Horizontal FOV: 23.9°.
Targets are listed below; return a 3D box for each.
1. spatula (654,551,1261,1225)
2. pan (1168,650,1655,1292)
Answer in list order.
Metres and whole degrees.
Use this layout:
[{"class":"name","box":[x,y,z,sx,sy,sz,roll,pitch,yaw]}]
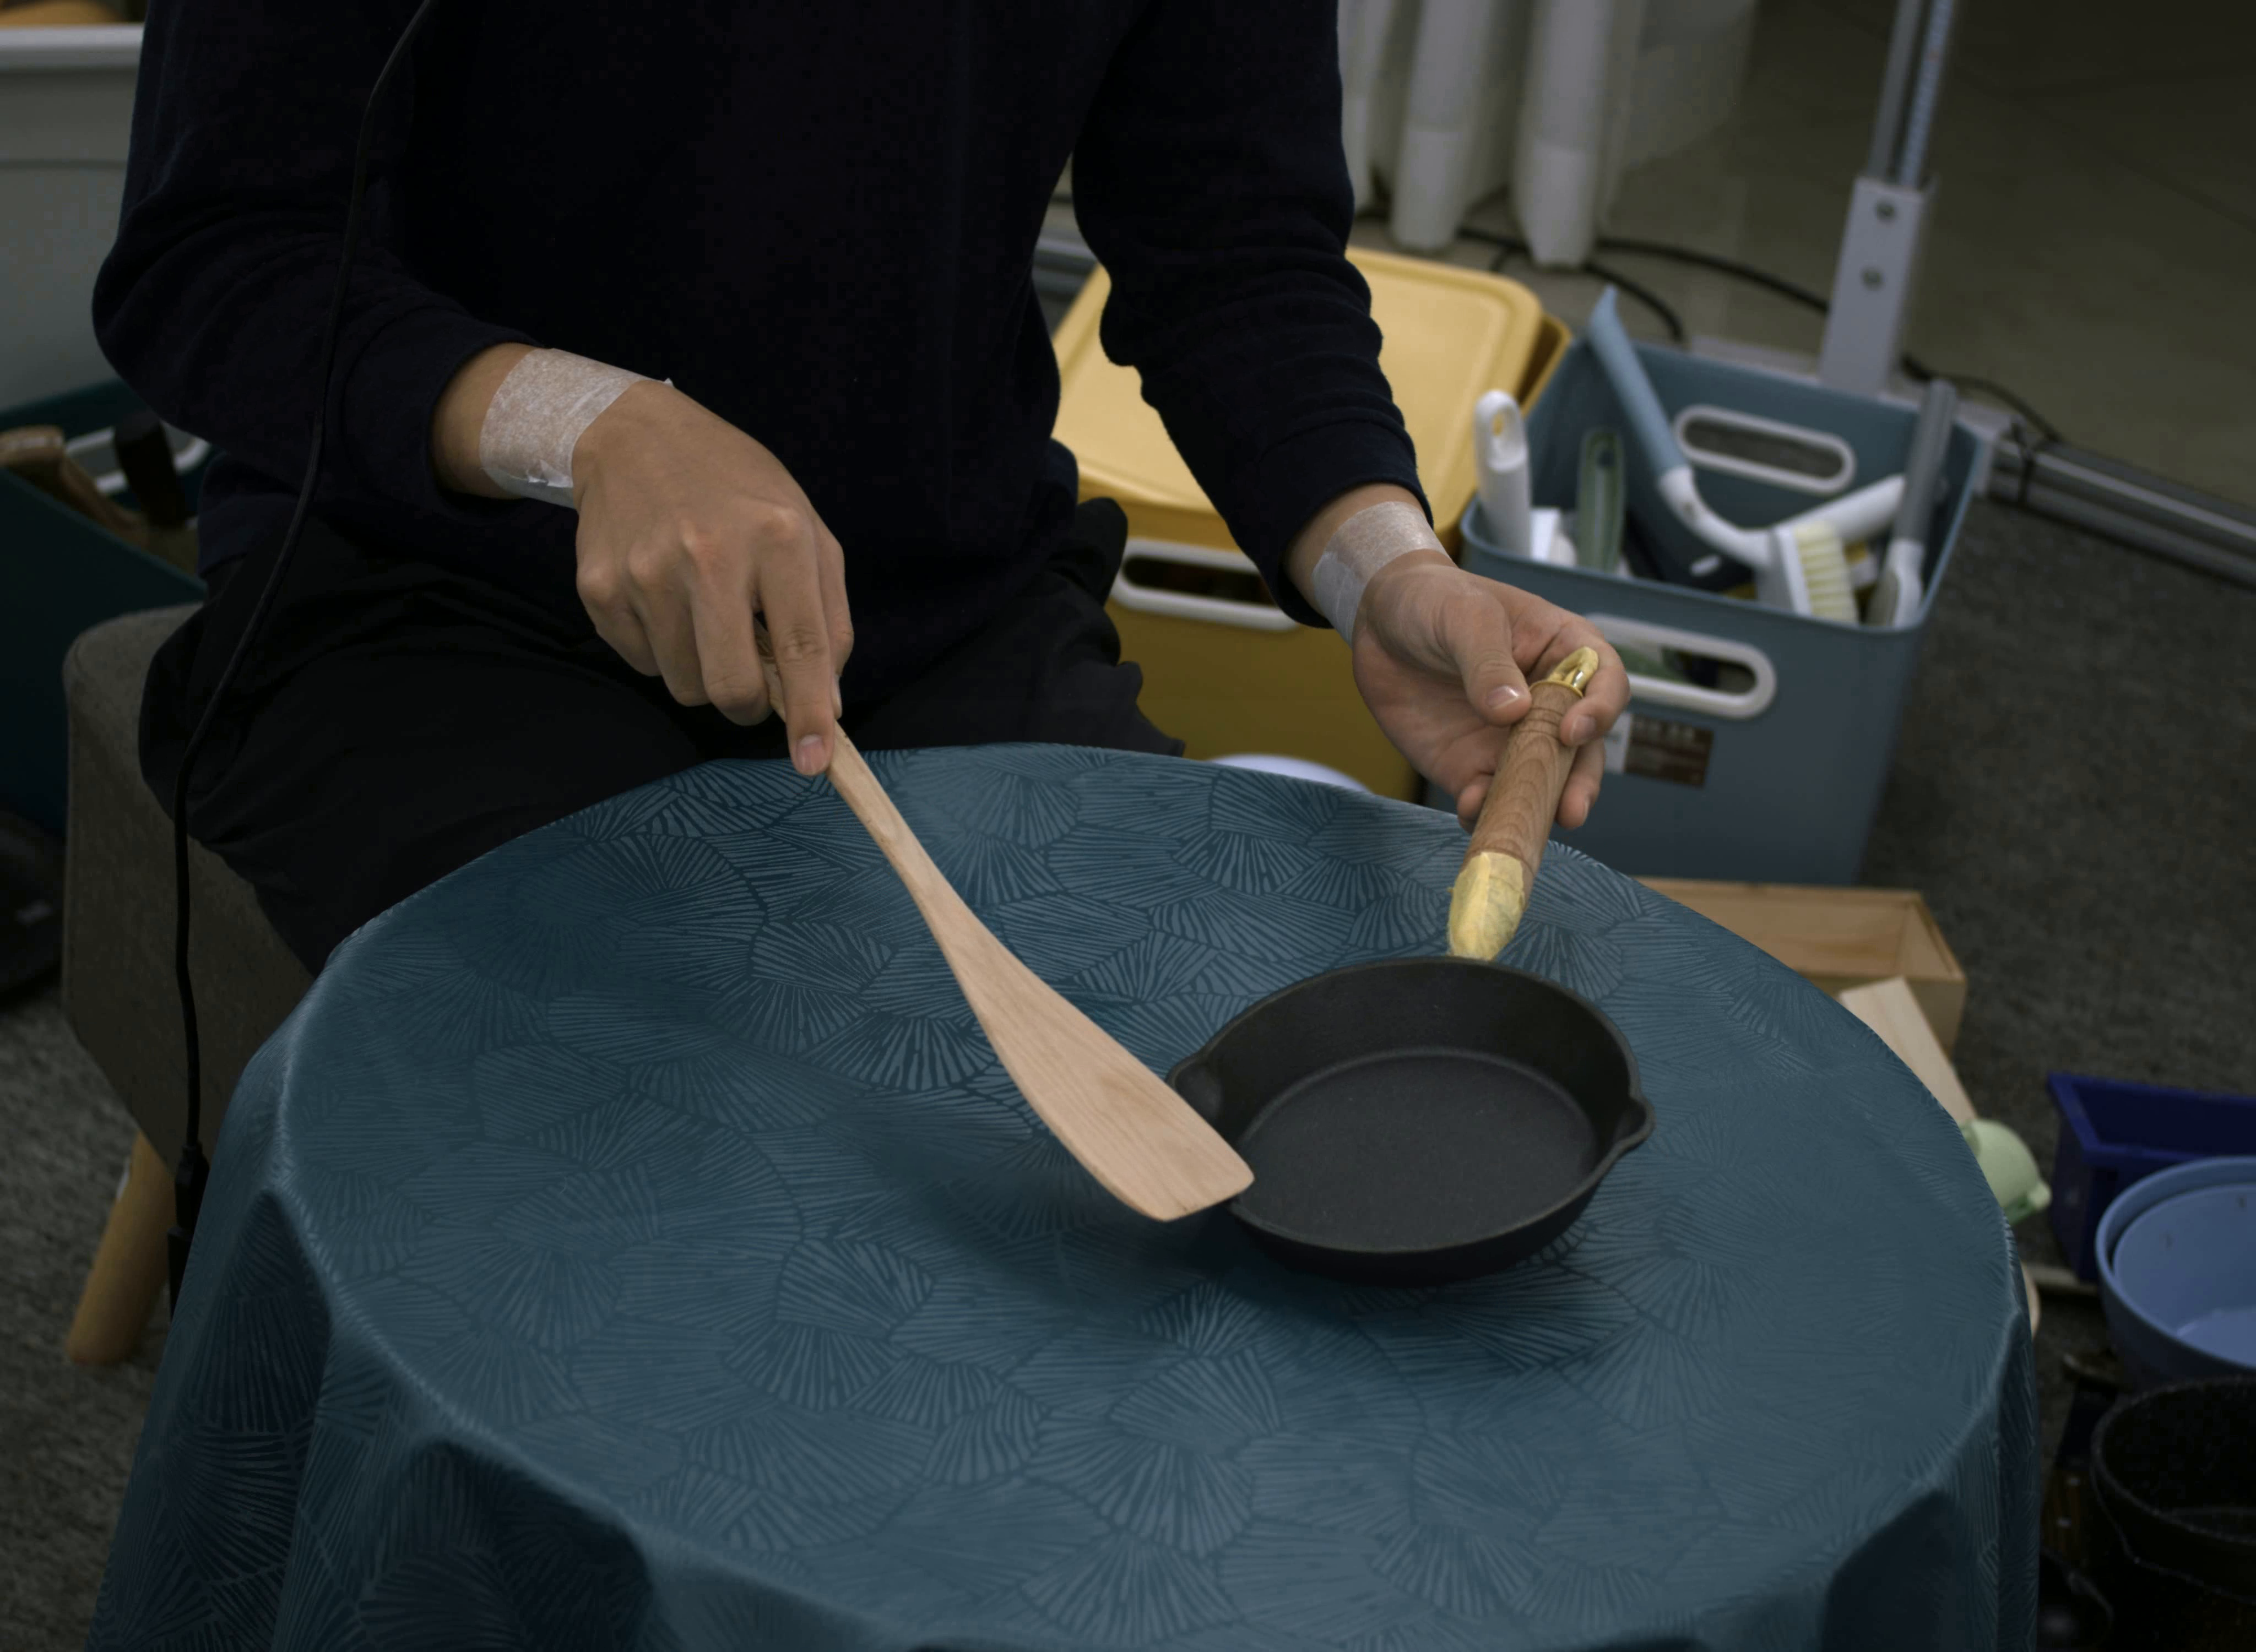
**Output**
[{"class":"spatula","box":[-0.065,0.017,1.811,0.079,0.016,0.330,-1,46,-53]},{"class":"pan","box":[0.121,0.048,1.853,0.169,0.049,0.325,6,39,19]}]
